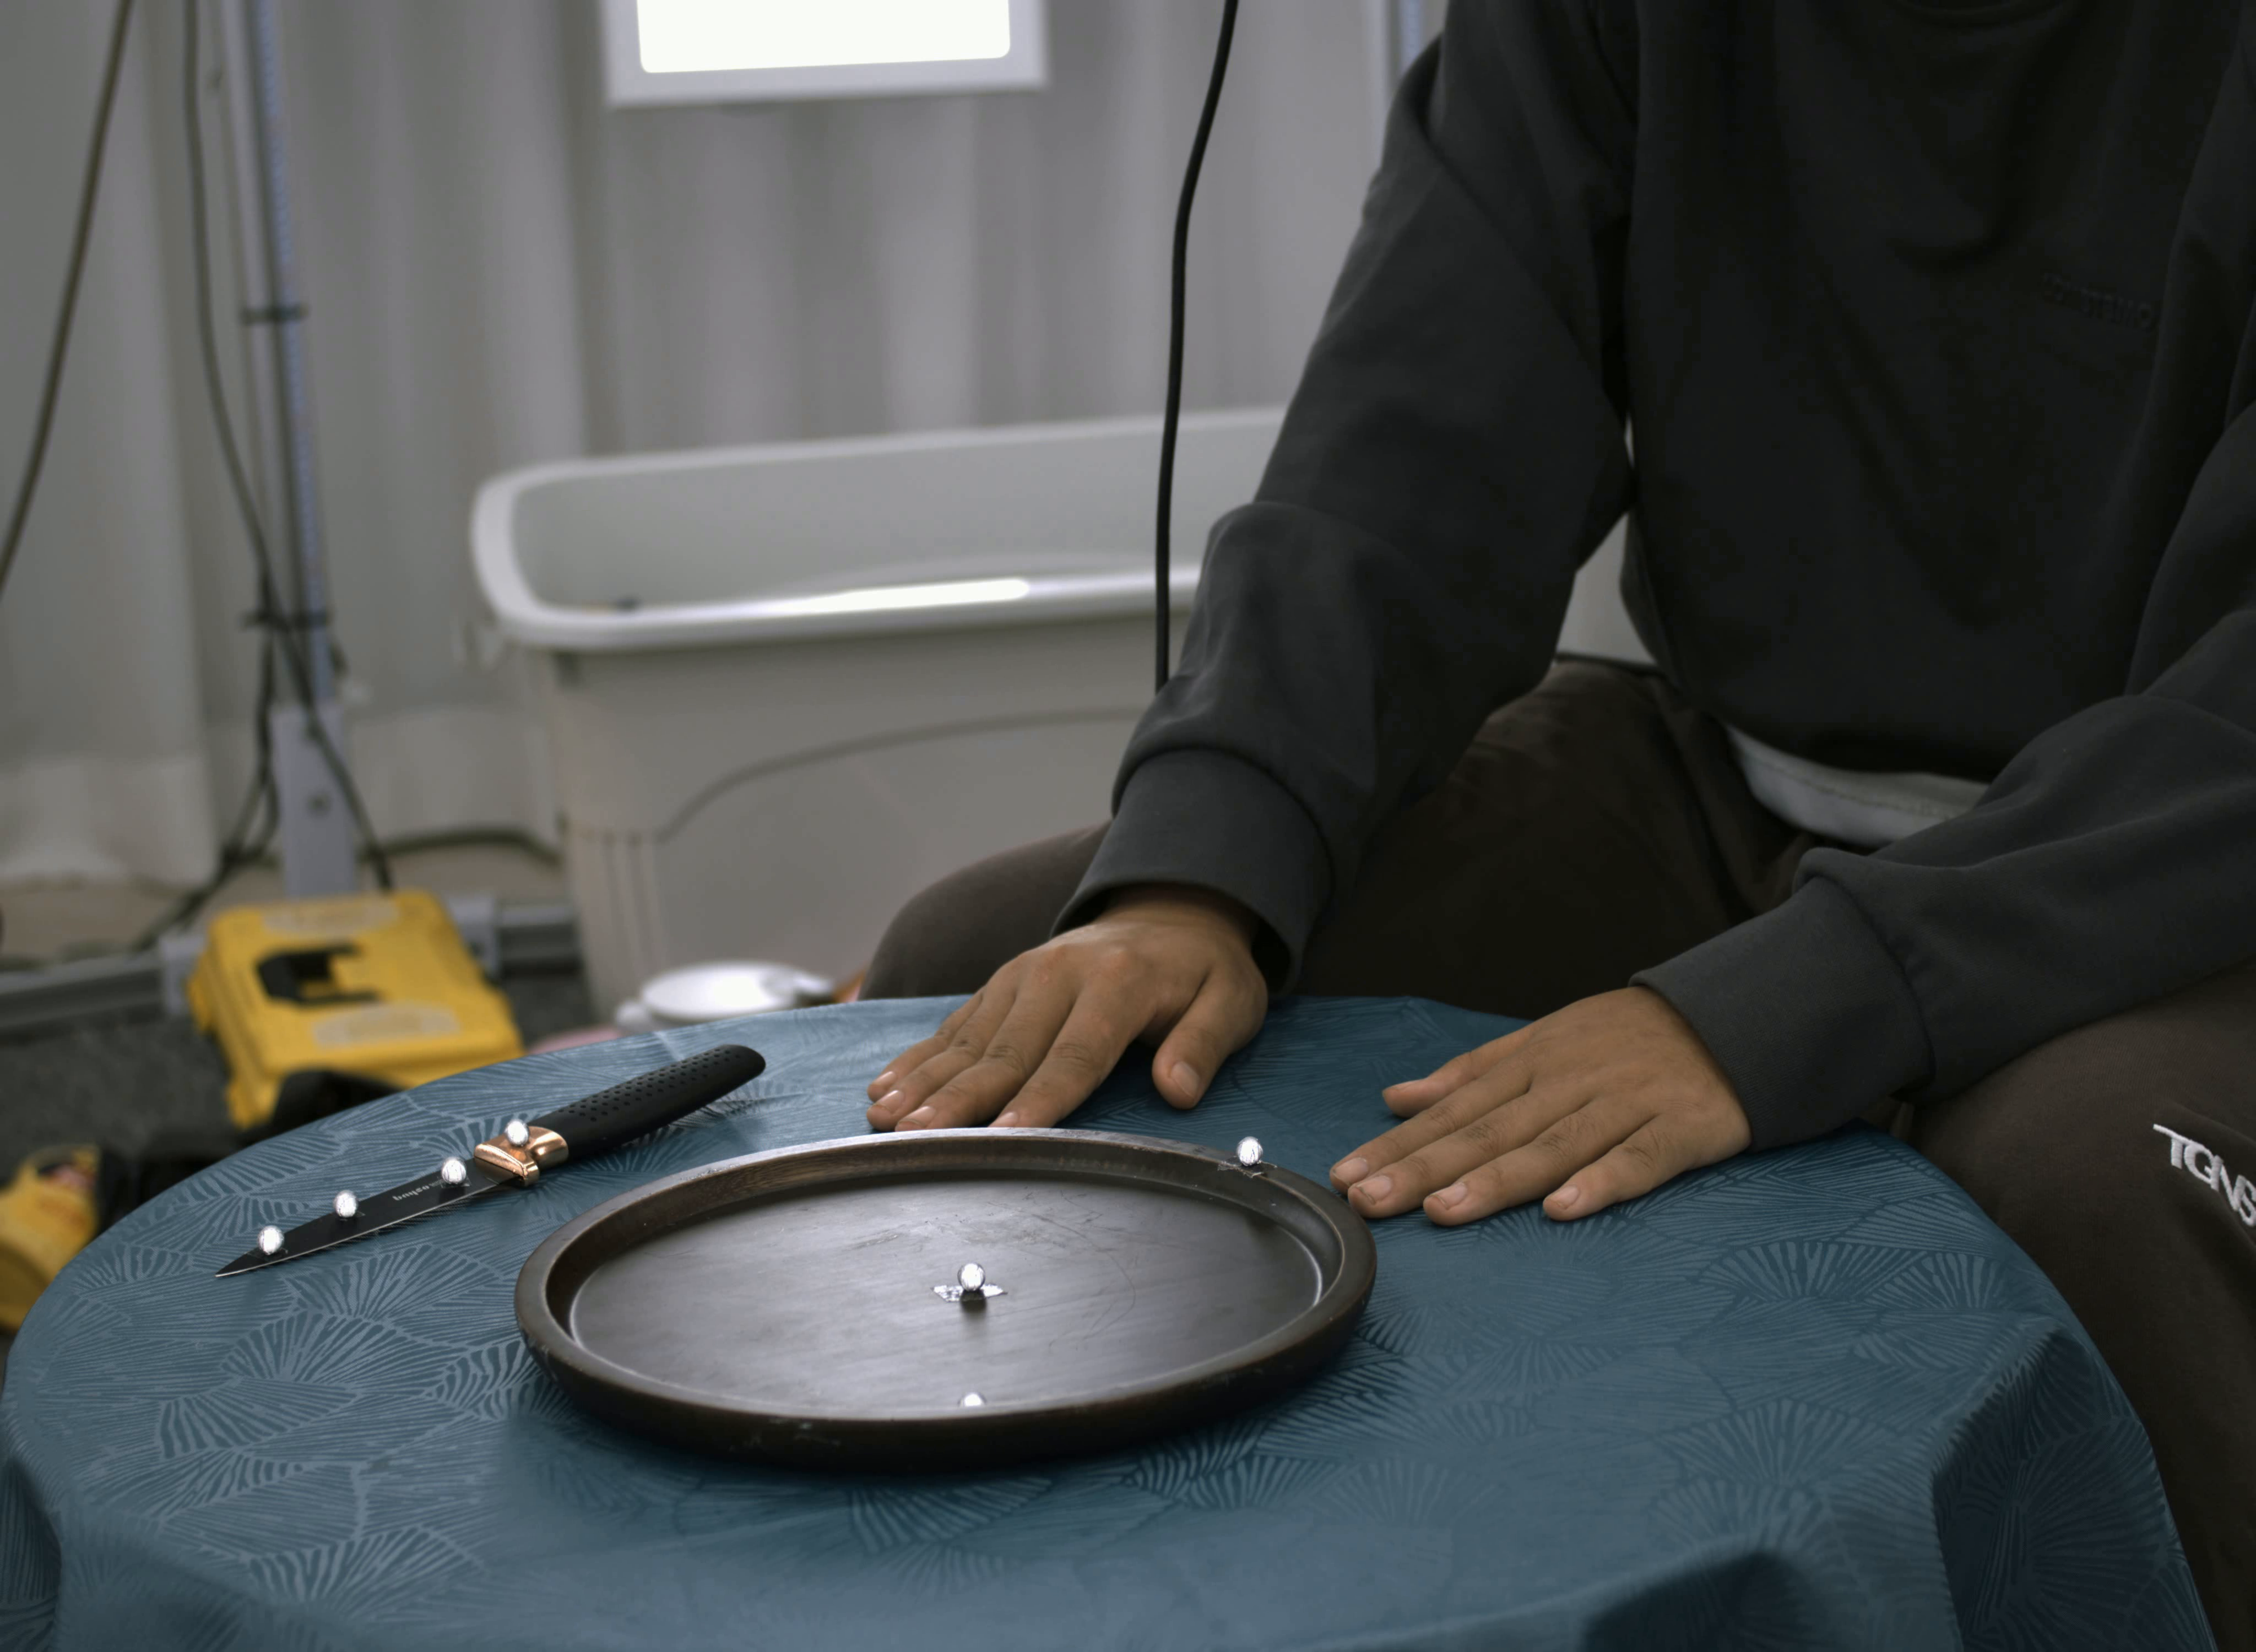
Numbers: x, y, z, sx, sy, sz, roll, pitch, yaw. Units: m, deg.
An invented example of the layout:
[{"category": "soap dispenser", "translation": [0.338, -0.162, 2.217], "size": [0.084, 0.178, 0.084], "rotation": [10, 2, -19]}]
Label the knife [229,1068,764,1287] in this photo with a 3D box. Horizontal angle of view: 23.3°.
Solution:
[{"category": "knife", "translation": [-0.200, 0.112, 1.744], "size": [0.026, 0.017, 0.225], "rotation": [18, 26, 40]}]

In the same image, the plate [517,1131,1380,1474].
[{"category": "plate", "translation": [-0.052, 0.137, 1.598], "size": [0.254, 0.029, 0.256], "rotation": [-3, 13, 0]}]
